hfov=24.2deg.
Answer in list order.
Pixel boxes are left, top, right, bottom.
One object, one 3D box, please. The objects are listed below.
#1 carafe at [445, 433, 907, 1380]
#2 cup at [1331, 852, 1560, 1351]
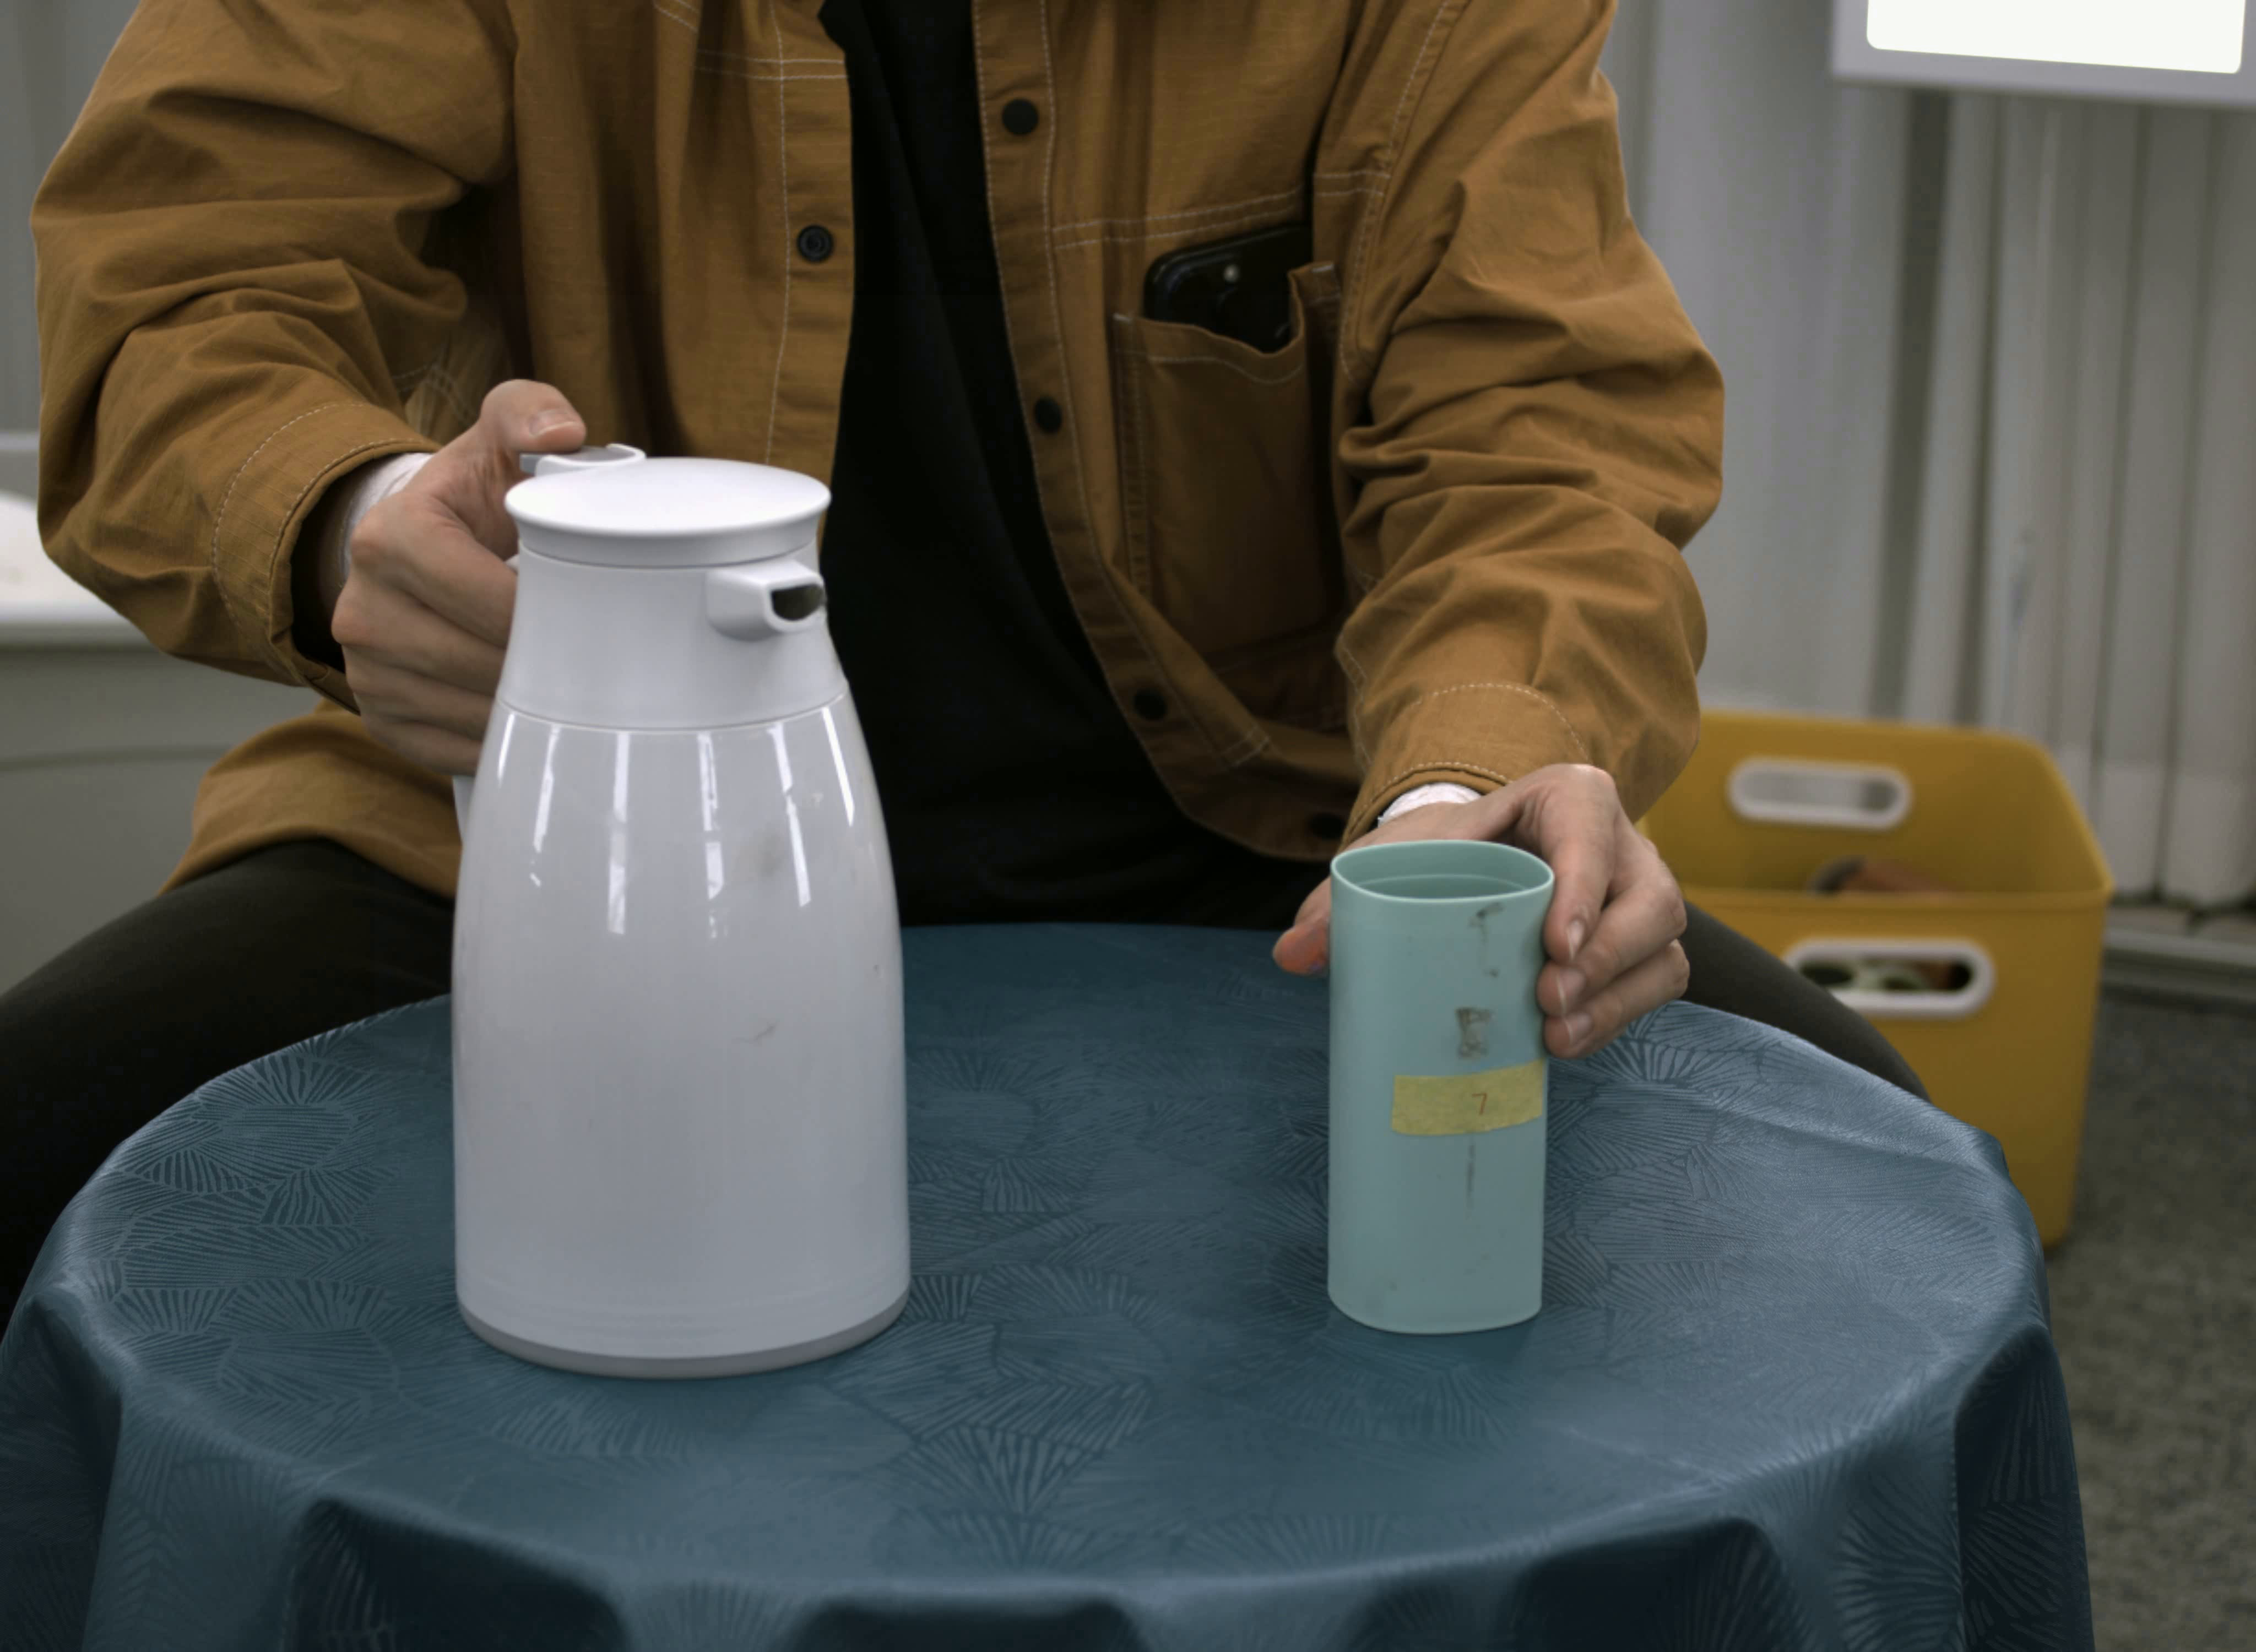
[{"bbox_3d":[-0.142,0.014,1.505,0.133,0.250,0.165,-13,20,-38],"label":"carafe"},{"bbox_3d":[0.090,0.078,1.517,0.066,0.133,0.066,1,16,0],"label":"cup"}]
